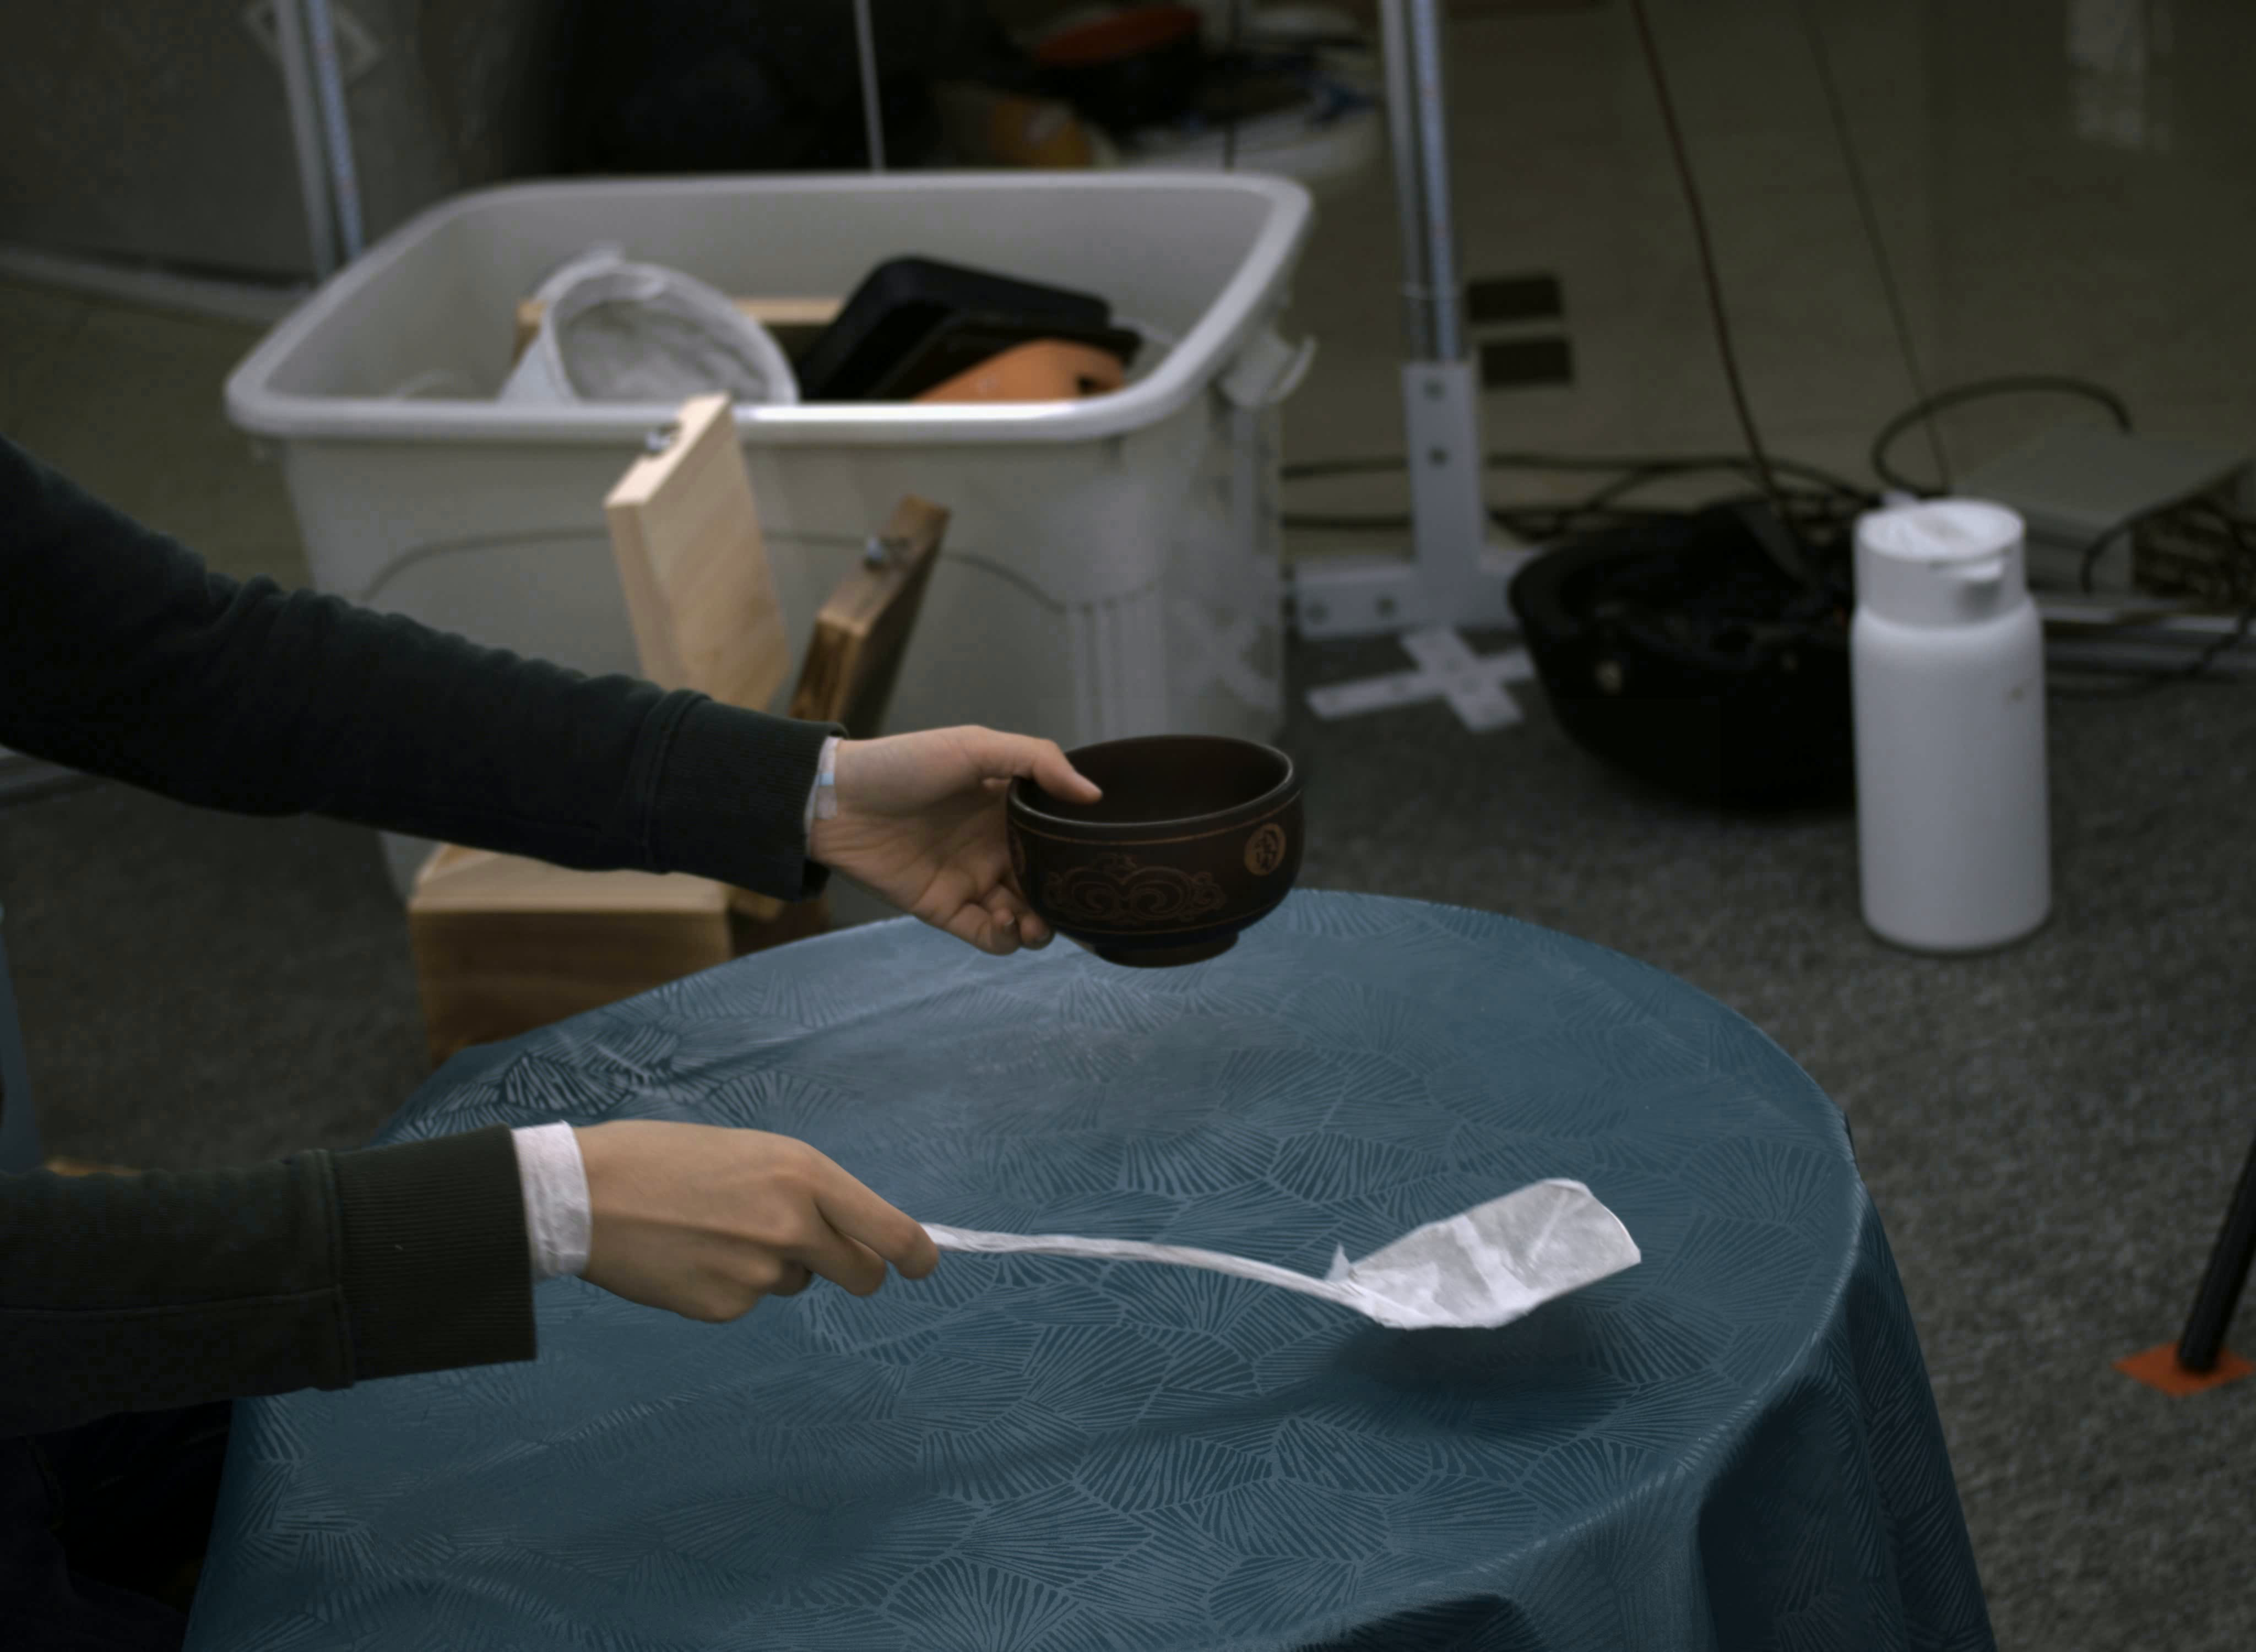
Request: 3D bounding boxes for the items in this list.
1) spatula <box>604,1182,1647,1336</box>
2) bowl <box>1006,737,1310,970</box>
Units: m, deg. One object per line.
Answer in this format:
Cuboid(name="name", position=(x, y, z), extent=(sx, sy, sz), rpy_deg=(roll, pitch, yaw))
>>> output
Cuboid(name="spatula", position=(0.000, 0.146, 1.985), extent=(0.364, 0.045, 0.097), rpy_deg=(5, 17, -11))
Cuboid(name="bowl", position=(0.014, 0.014, 2.202), extent=(0.118, 0.071, 0.117), rpy_deg=(-6, 17, 2))
